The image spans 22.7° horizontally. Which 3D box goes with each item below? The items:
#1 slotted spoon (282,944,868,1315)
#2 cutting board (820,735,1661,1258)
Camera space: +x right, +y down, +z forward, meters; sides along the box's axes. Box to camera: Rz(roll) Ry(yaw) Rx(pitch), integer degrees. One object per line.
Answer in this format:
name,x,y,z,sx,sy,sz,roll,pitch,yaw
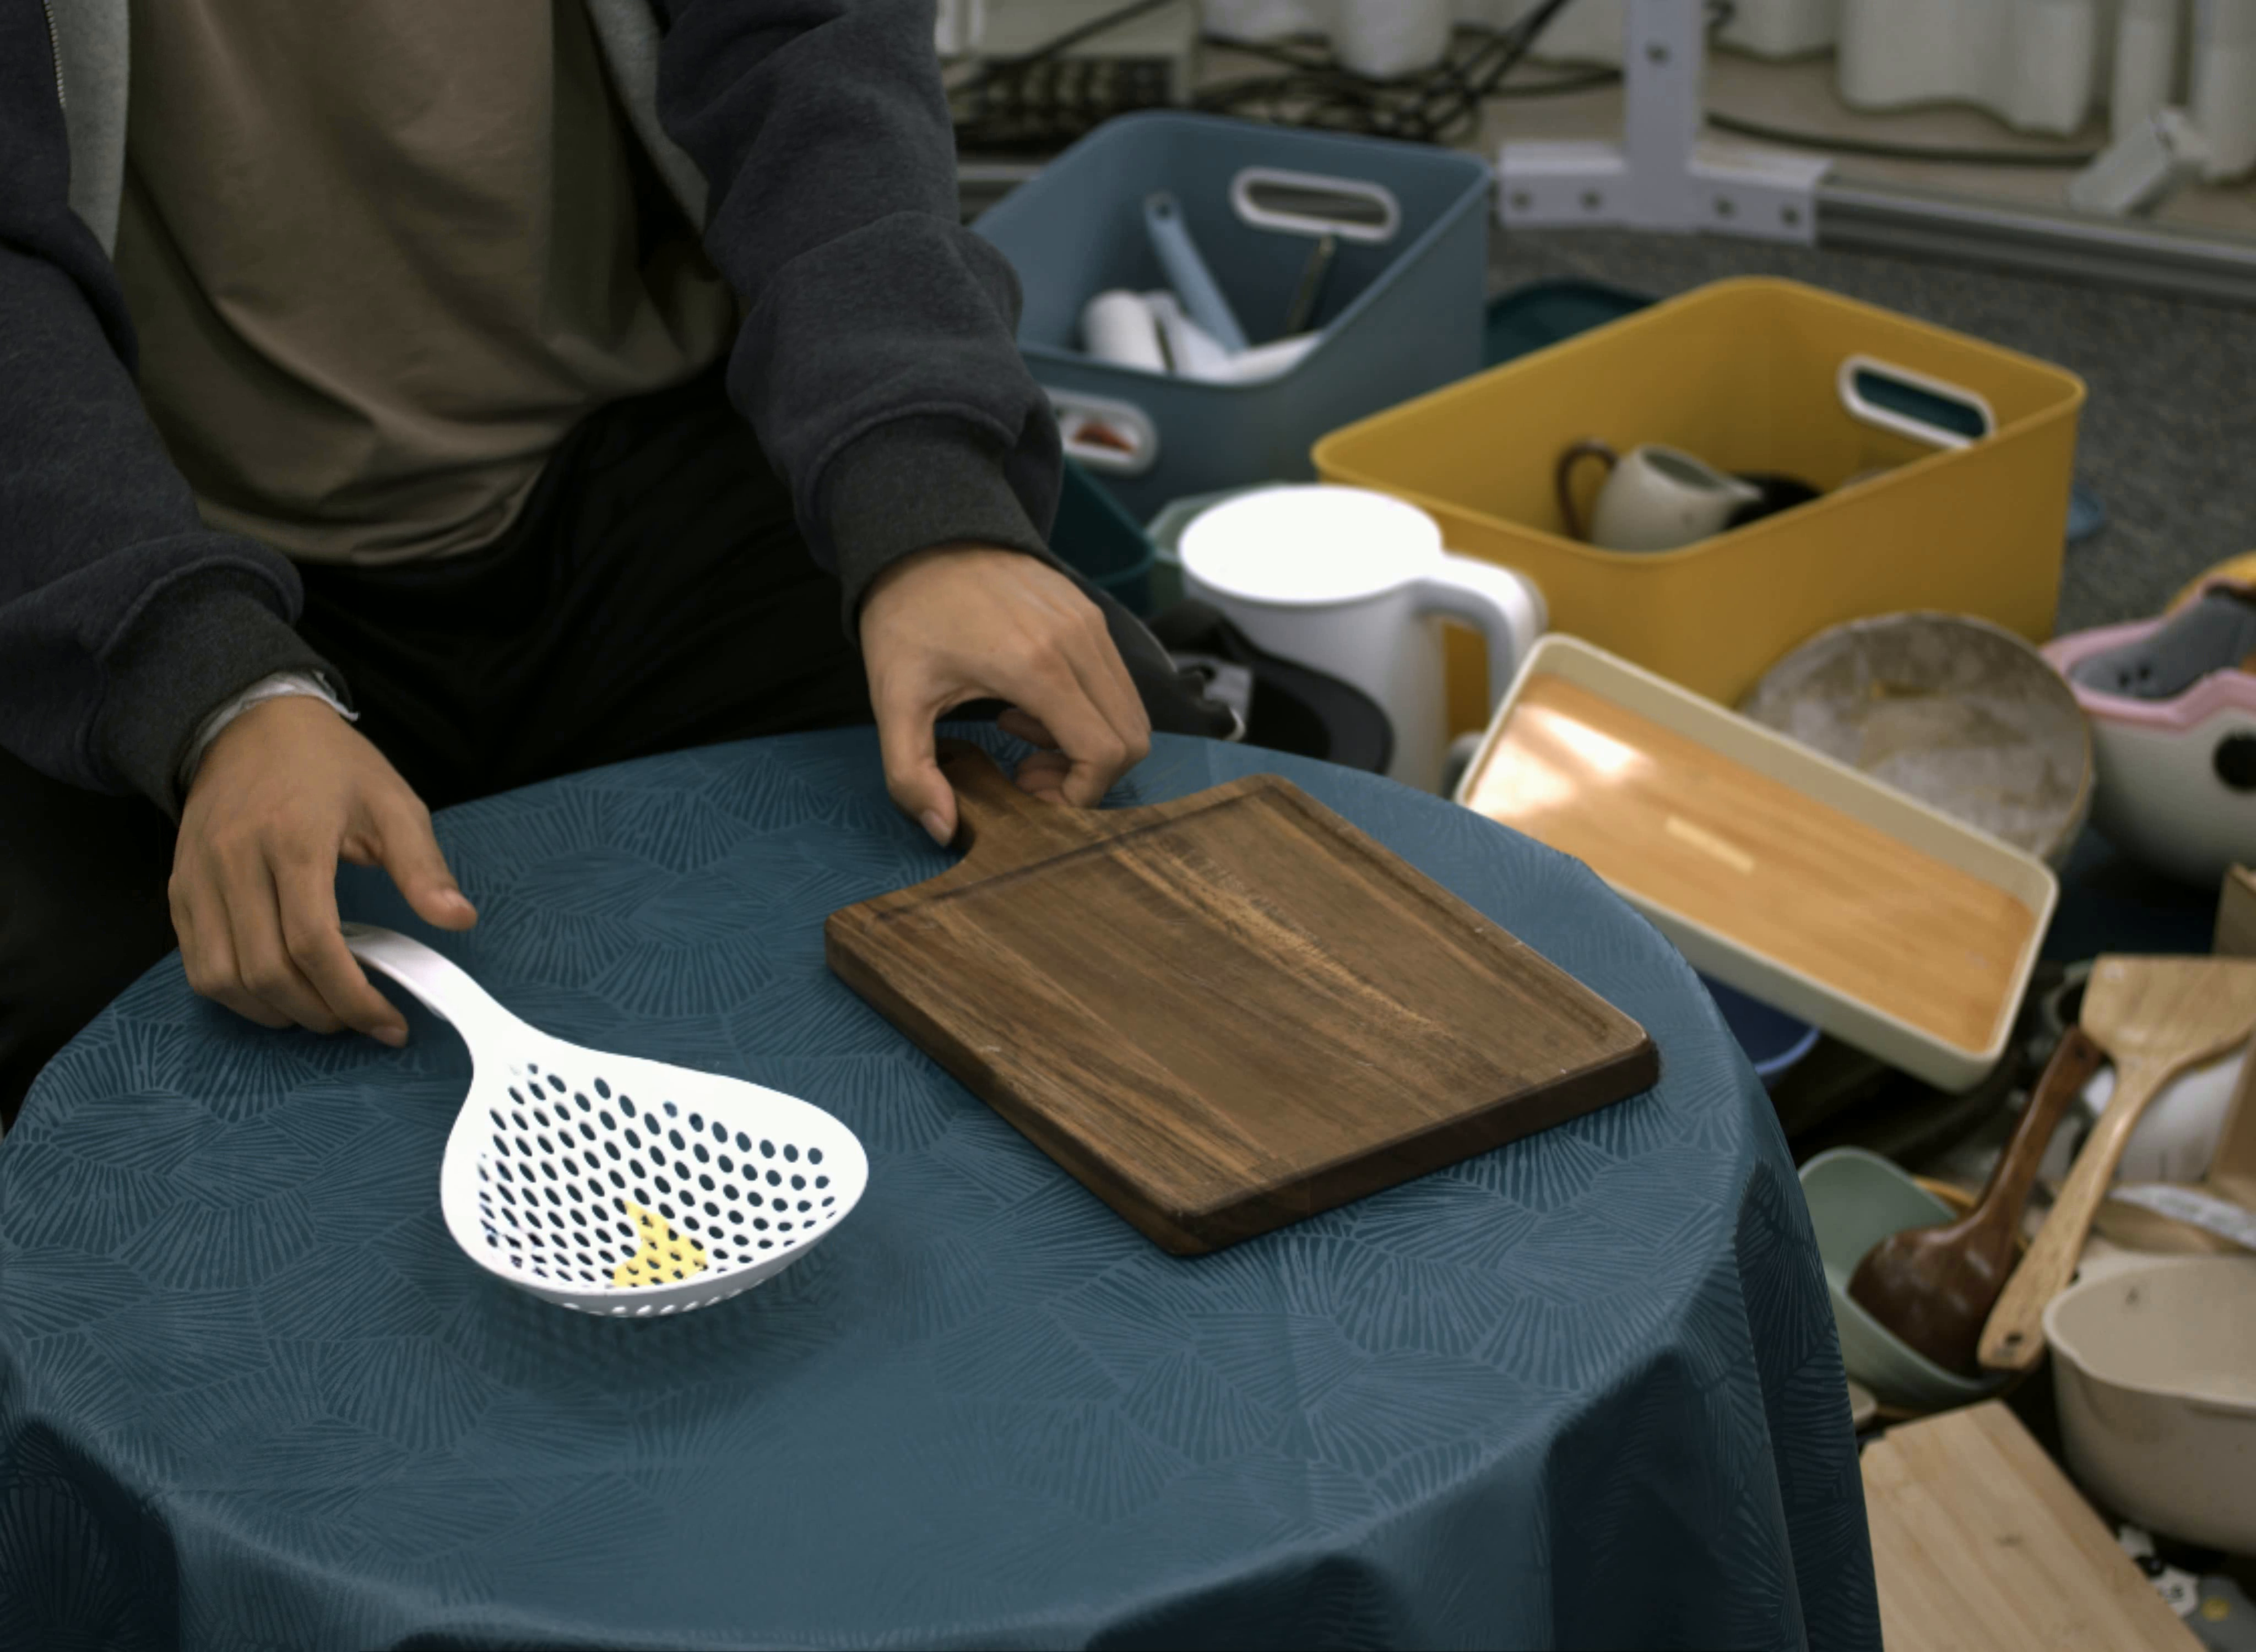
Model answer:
slotted spoon,-0.207,0.089,1.902,0.138,0.050,0.349,-20,32,-25
cutting board,0.010,0.042,1.993,0.202,0.023,0.353,-17,31,-27
